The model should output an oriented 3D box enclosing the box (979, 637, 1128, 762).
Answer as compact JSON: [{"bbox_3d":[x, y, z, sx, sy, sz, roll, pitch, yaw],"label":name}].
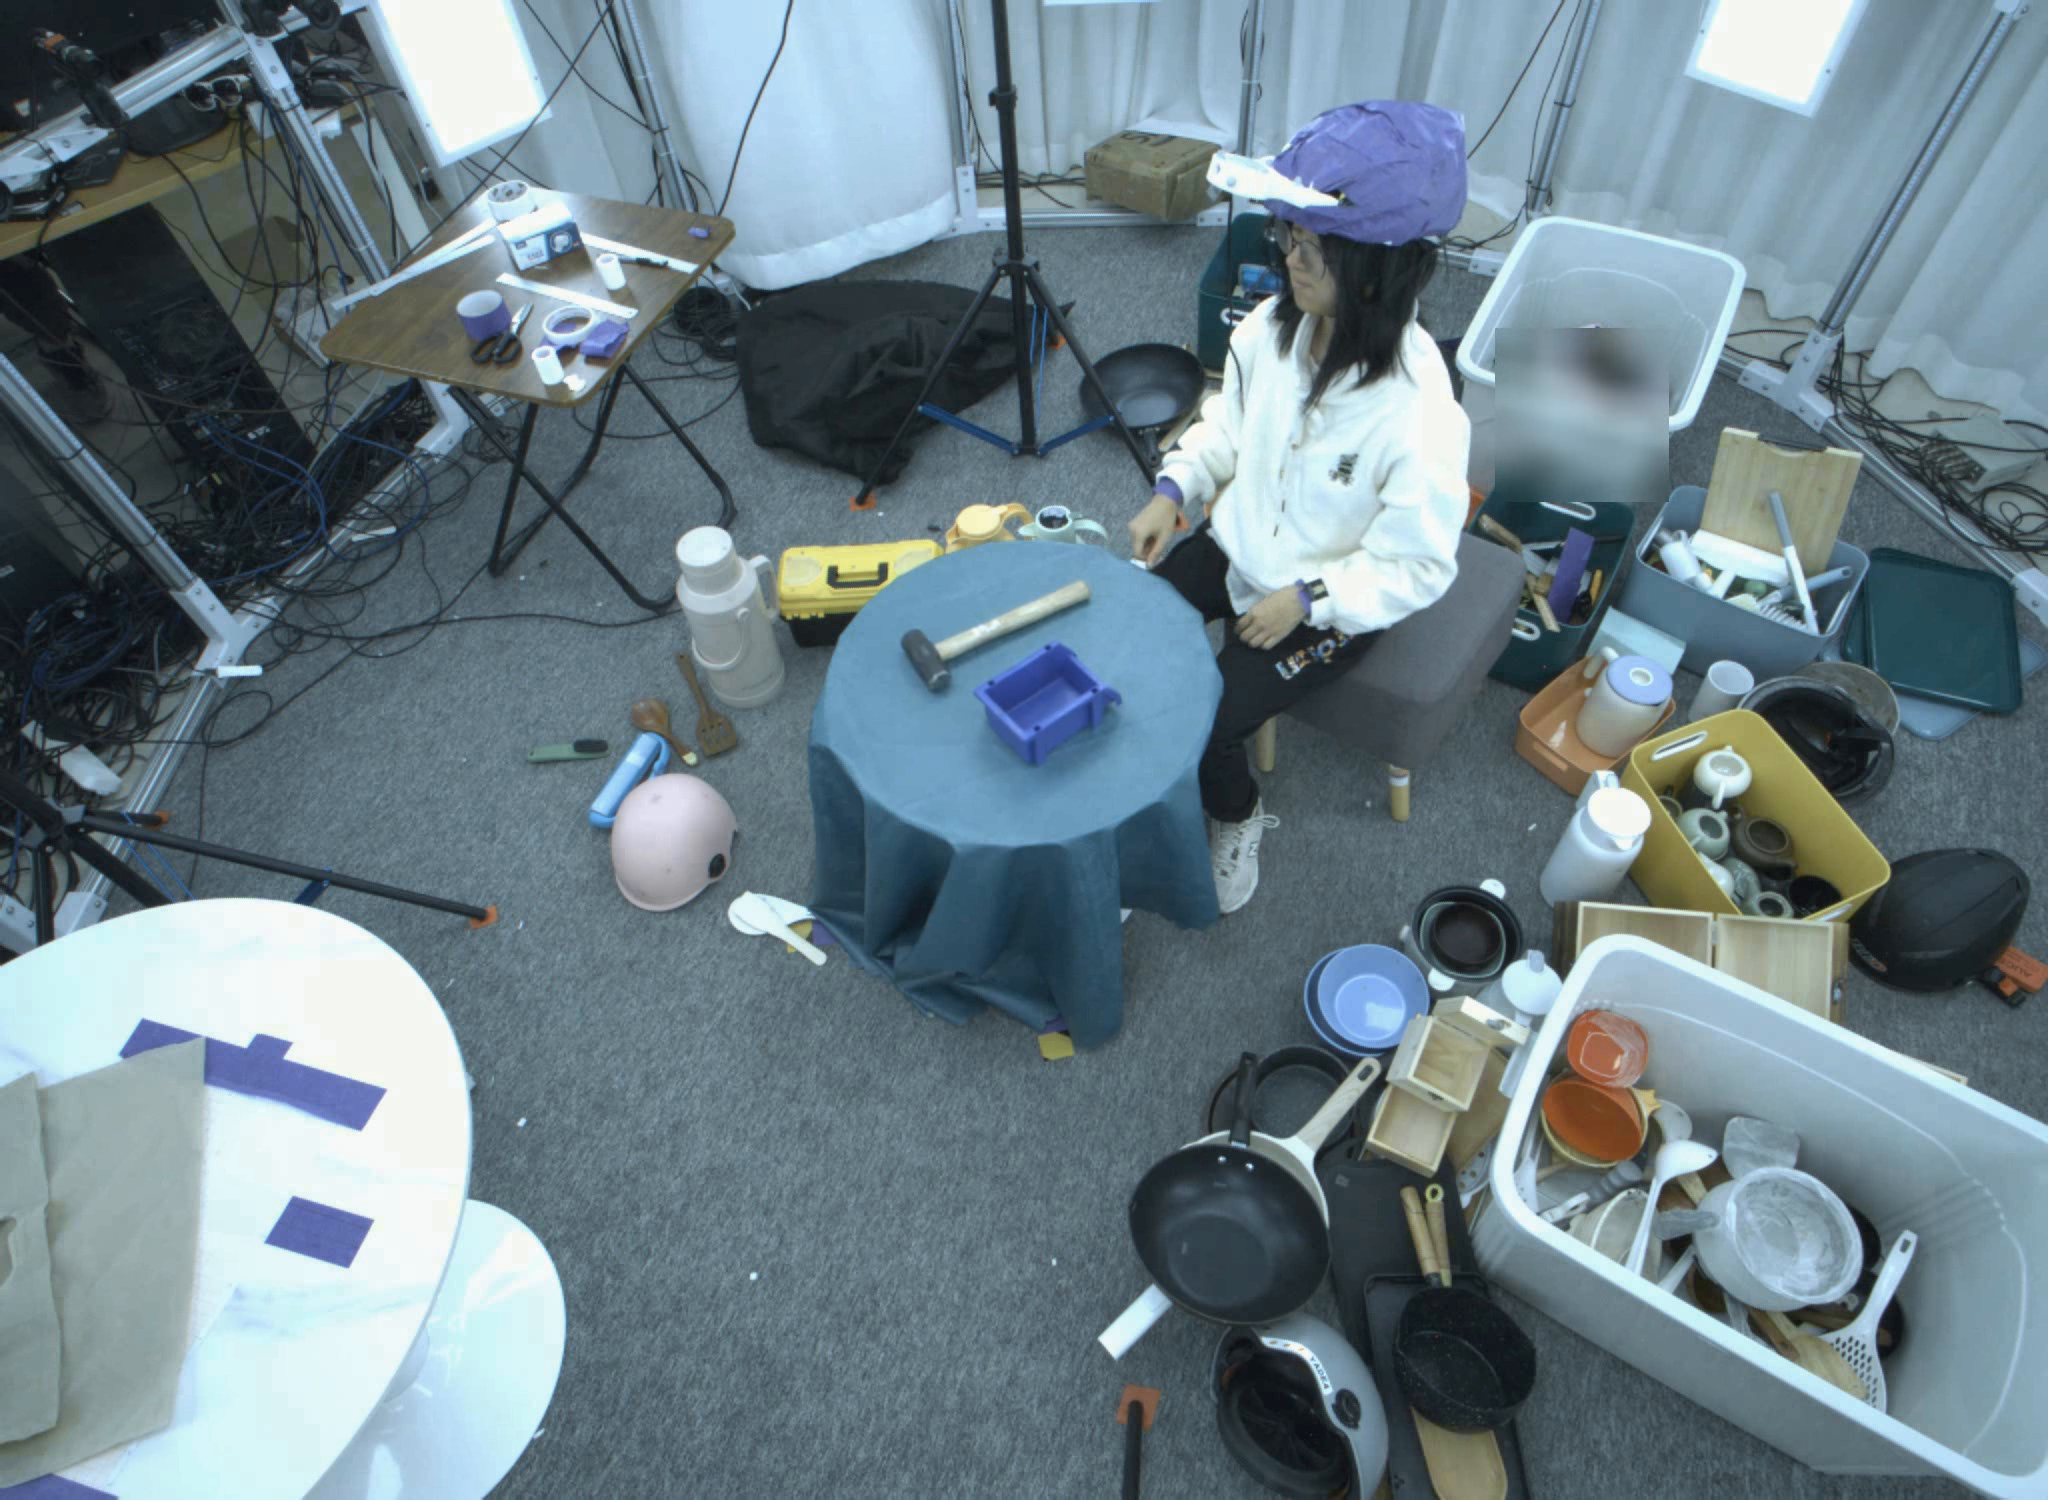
[{"bbox_3d":[0.043,-0.078,1.792,0.180,0.083,0.122,-34,60,-17],"label":"box"}]

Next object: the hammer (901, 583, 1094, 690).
[{"bbox_3d":[-0.033,-0.191,1.904,0.308,0.039,0.105,-24,57,-16],"label":"hammer"}]
